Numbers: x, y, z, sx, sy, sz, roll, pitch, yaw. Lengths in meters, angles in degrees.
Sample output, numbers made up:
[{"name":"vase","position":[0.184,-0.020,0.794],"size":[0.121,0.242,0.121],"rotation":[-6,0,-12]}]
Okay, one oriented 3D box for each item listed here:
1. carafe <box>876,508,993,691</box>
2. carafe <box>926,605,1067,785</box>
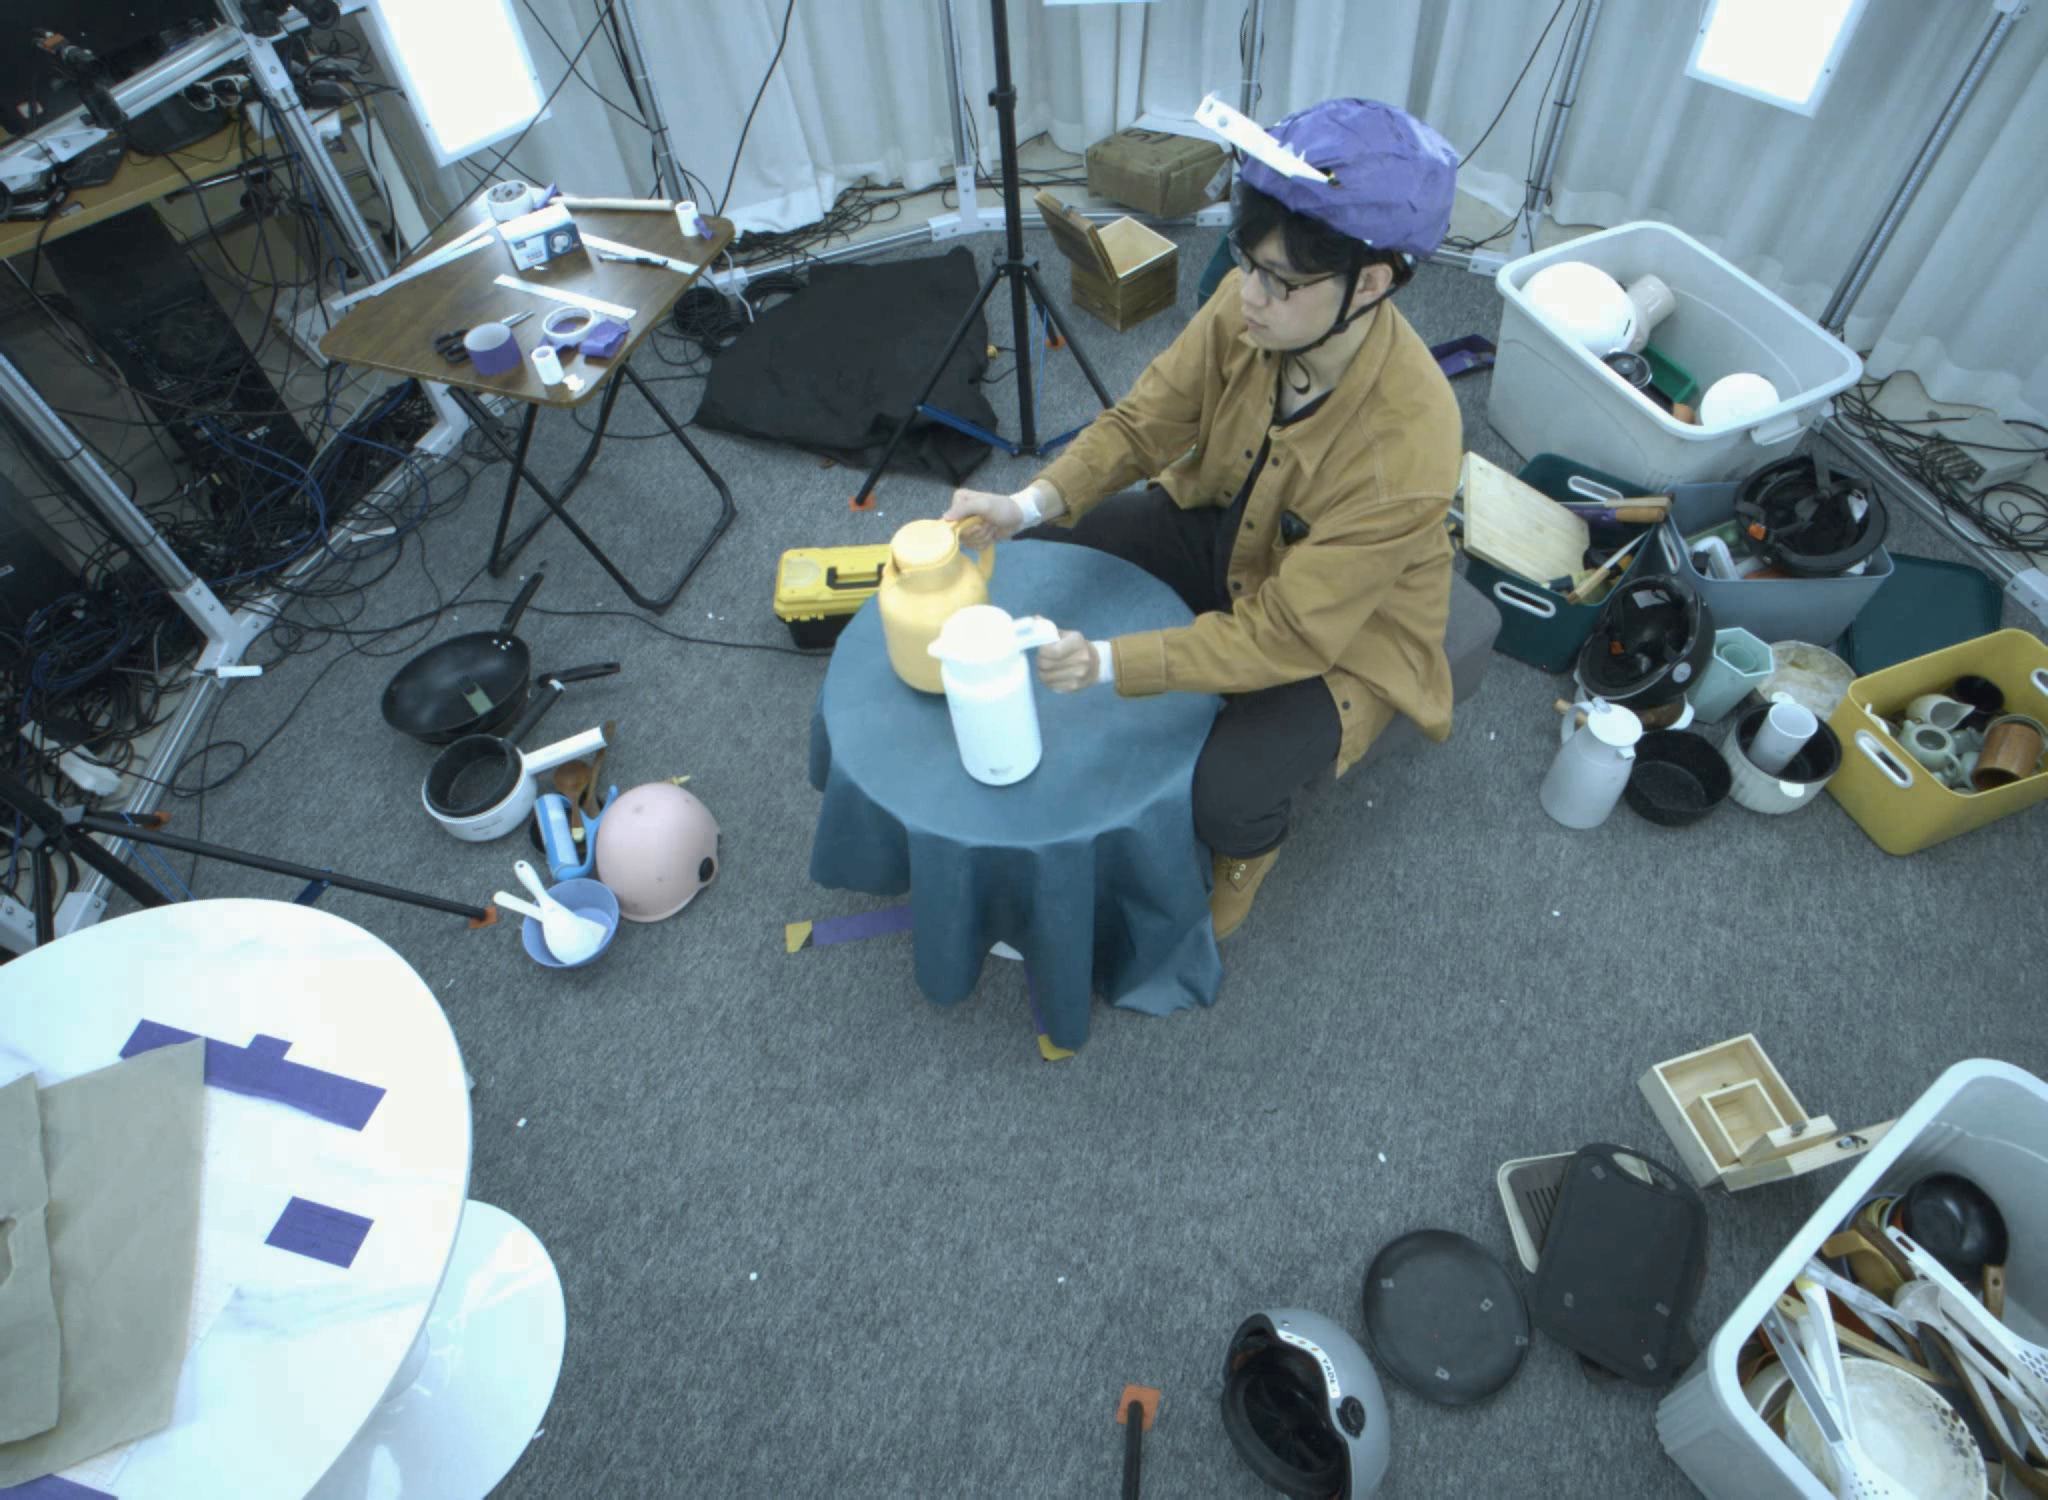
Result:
[{"name":"carafe","position":[-0.118,-0.226,1.783],"size":[0.160,0.263,0.203],"rotation":[35,65,24]},{"name":"carafe","position":[-0.029,-0.077,1.670],"size":[0.173,0.272,0.122],"rotation":[-15,52,-4]}]
